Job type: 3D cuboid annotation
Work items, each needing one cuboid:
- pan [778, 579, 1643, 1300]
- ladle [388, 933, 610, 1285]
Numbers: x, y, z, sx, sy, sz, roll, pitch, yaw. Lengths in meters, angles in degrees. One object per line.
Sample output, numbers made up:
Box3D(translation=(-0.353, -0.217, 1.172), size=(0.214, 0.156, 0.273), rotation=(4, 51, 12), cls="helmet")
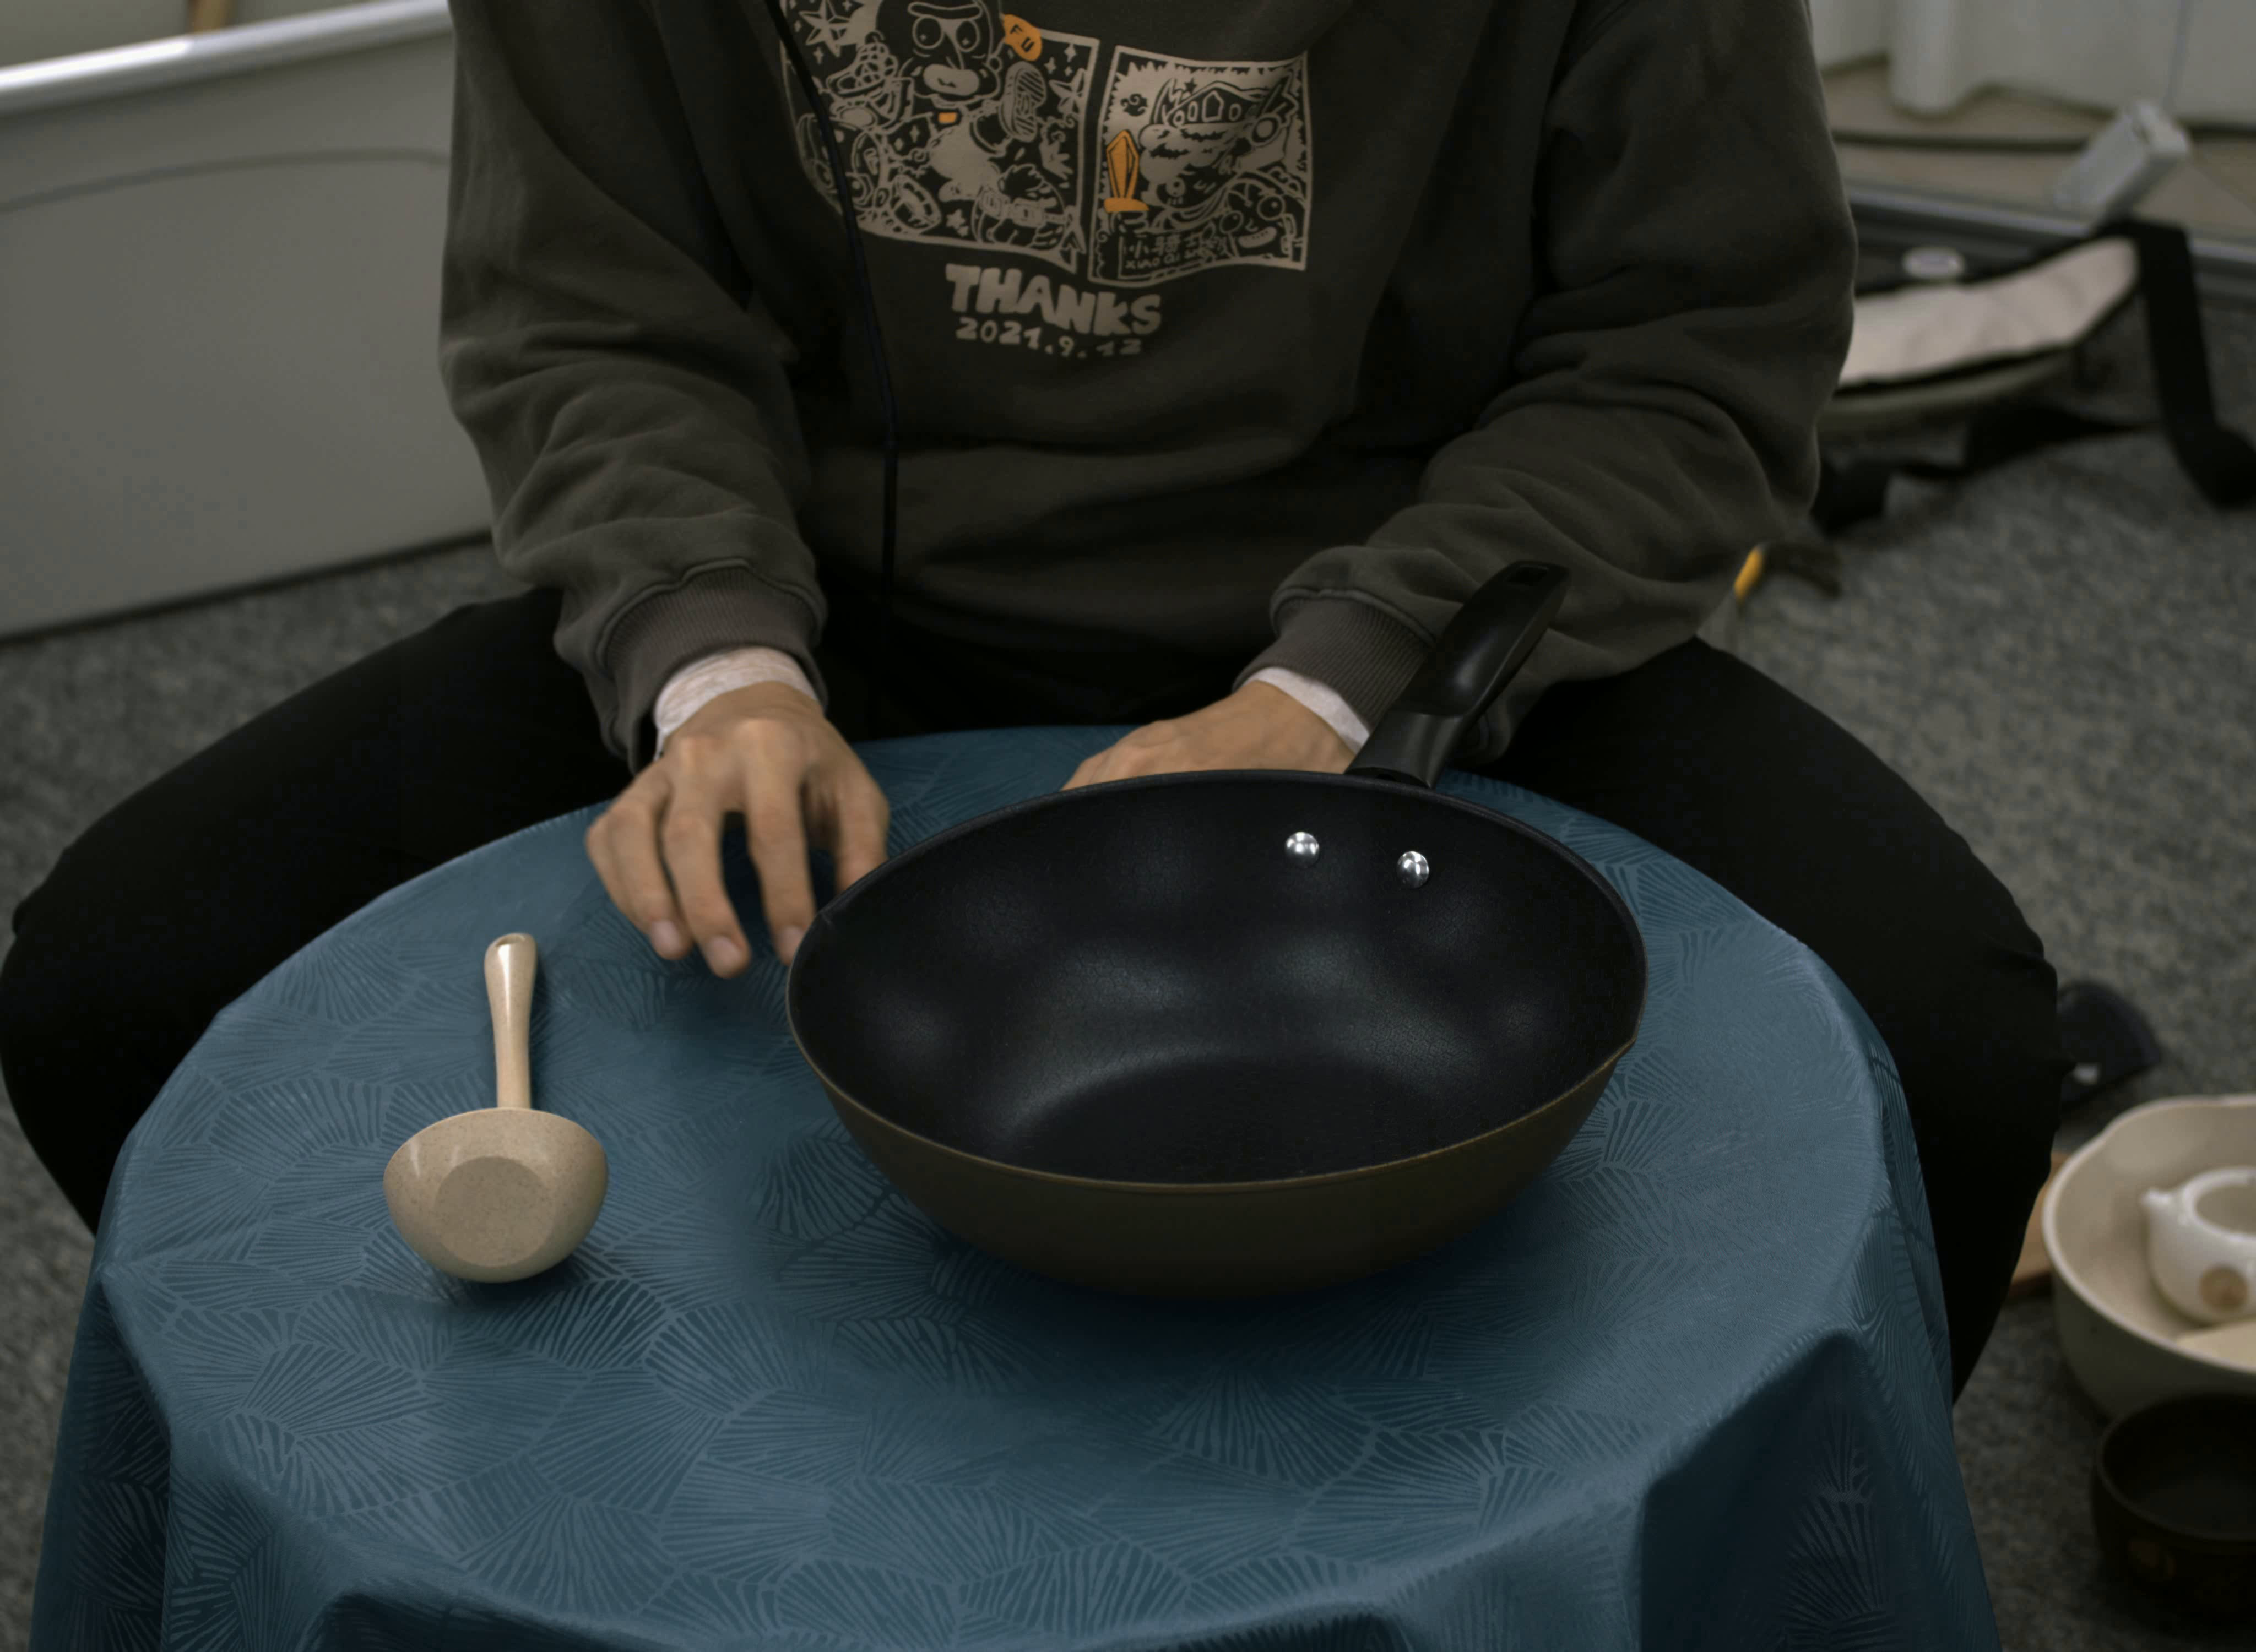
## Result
Box3D(translation=(0.064, 0.039, 1.924), size=(0.286, 0.086, 0.471), rotation=(9, 29, 22), cls="pan")
Box3D(translation=(-0.219, 0.069, 1.905), size=(0.072, 0.072, 0.258), rotation=(-15, 29, -2), cls="ladle")
